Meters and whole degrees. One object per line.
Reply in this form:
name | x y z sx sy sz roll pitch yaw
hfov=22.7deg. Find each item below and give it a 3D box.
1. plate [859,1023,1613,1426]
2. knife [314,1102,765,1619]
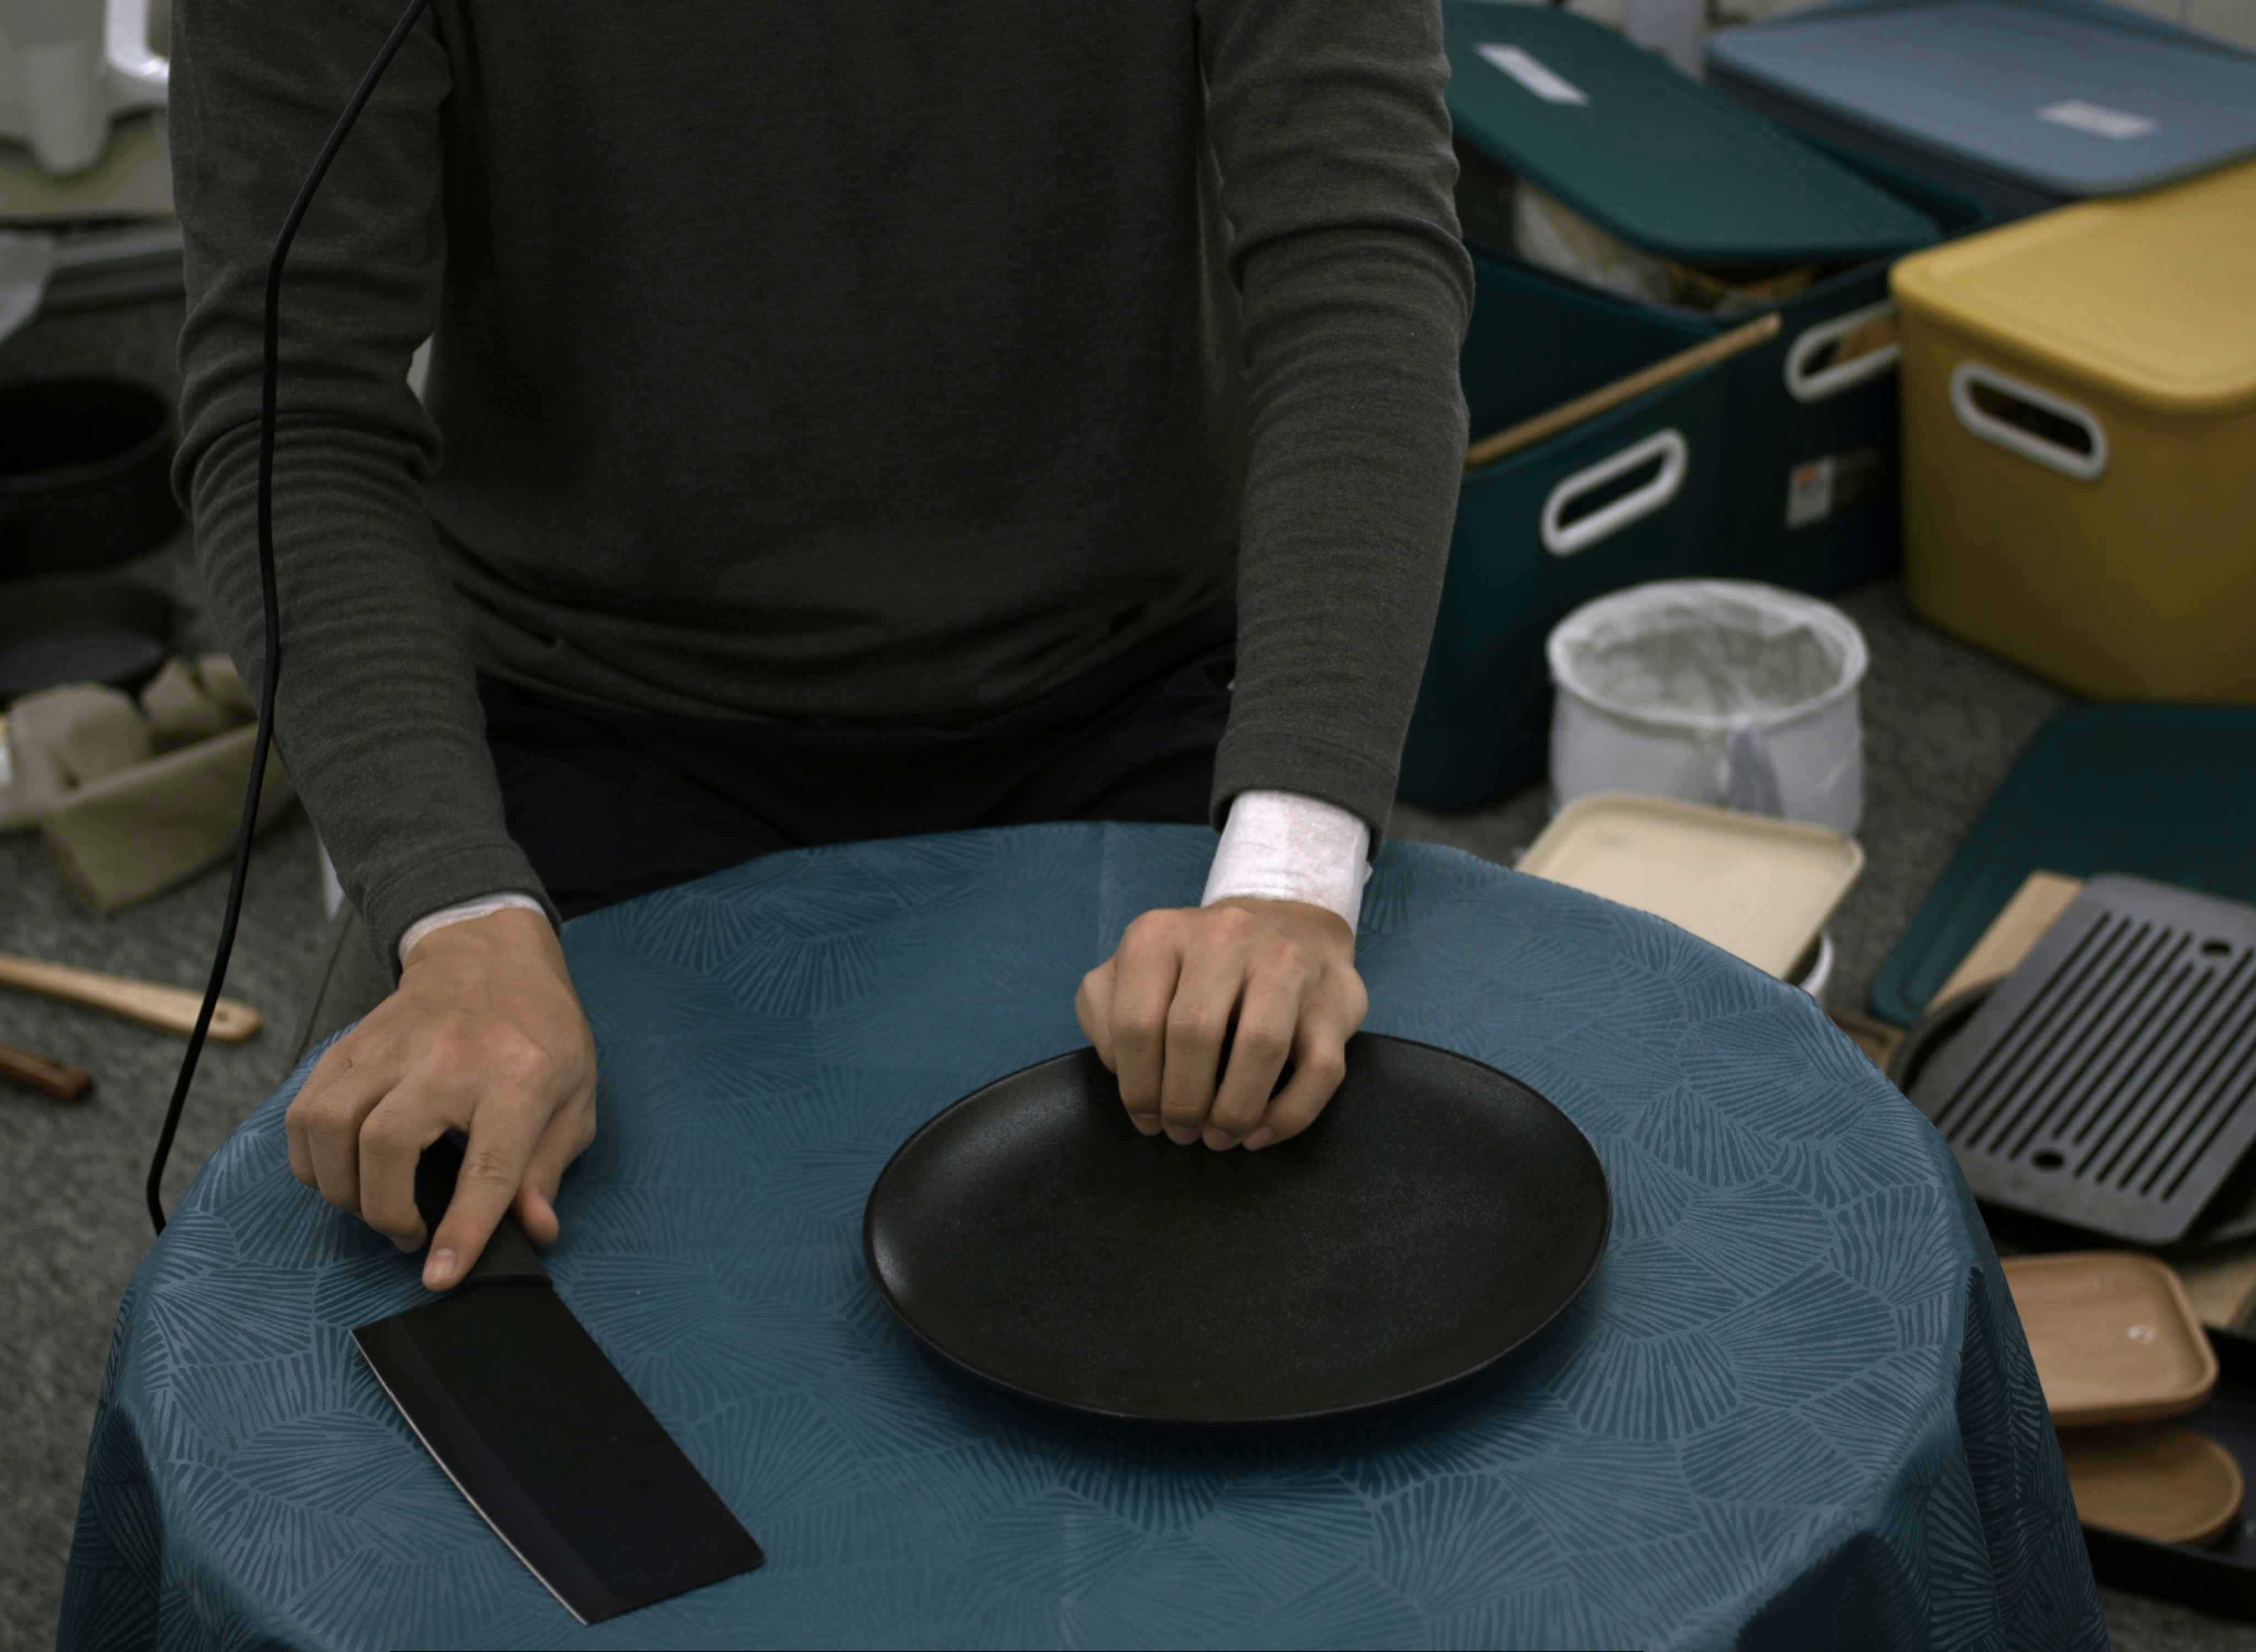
plate | 0.035 0.133 1.812 0.243 0.023 0.248 -2 27 1
knife | -0.202 0.165 1.783 0.081 0.020 0.304 -16 31 -18
